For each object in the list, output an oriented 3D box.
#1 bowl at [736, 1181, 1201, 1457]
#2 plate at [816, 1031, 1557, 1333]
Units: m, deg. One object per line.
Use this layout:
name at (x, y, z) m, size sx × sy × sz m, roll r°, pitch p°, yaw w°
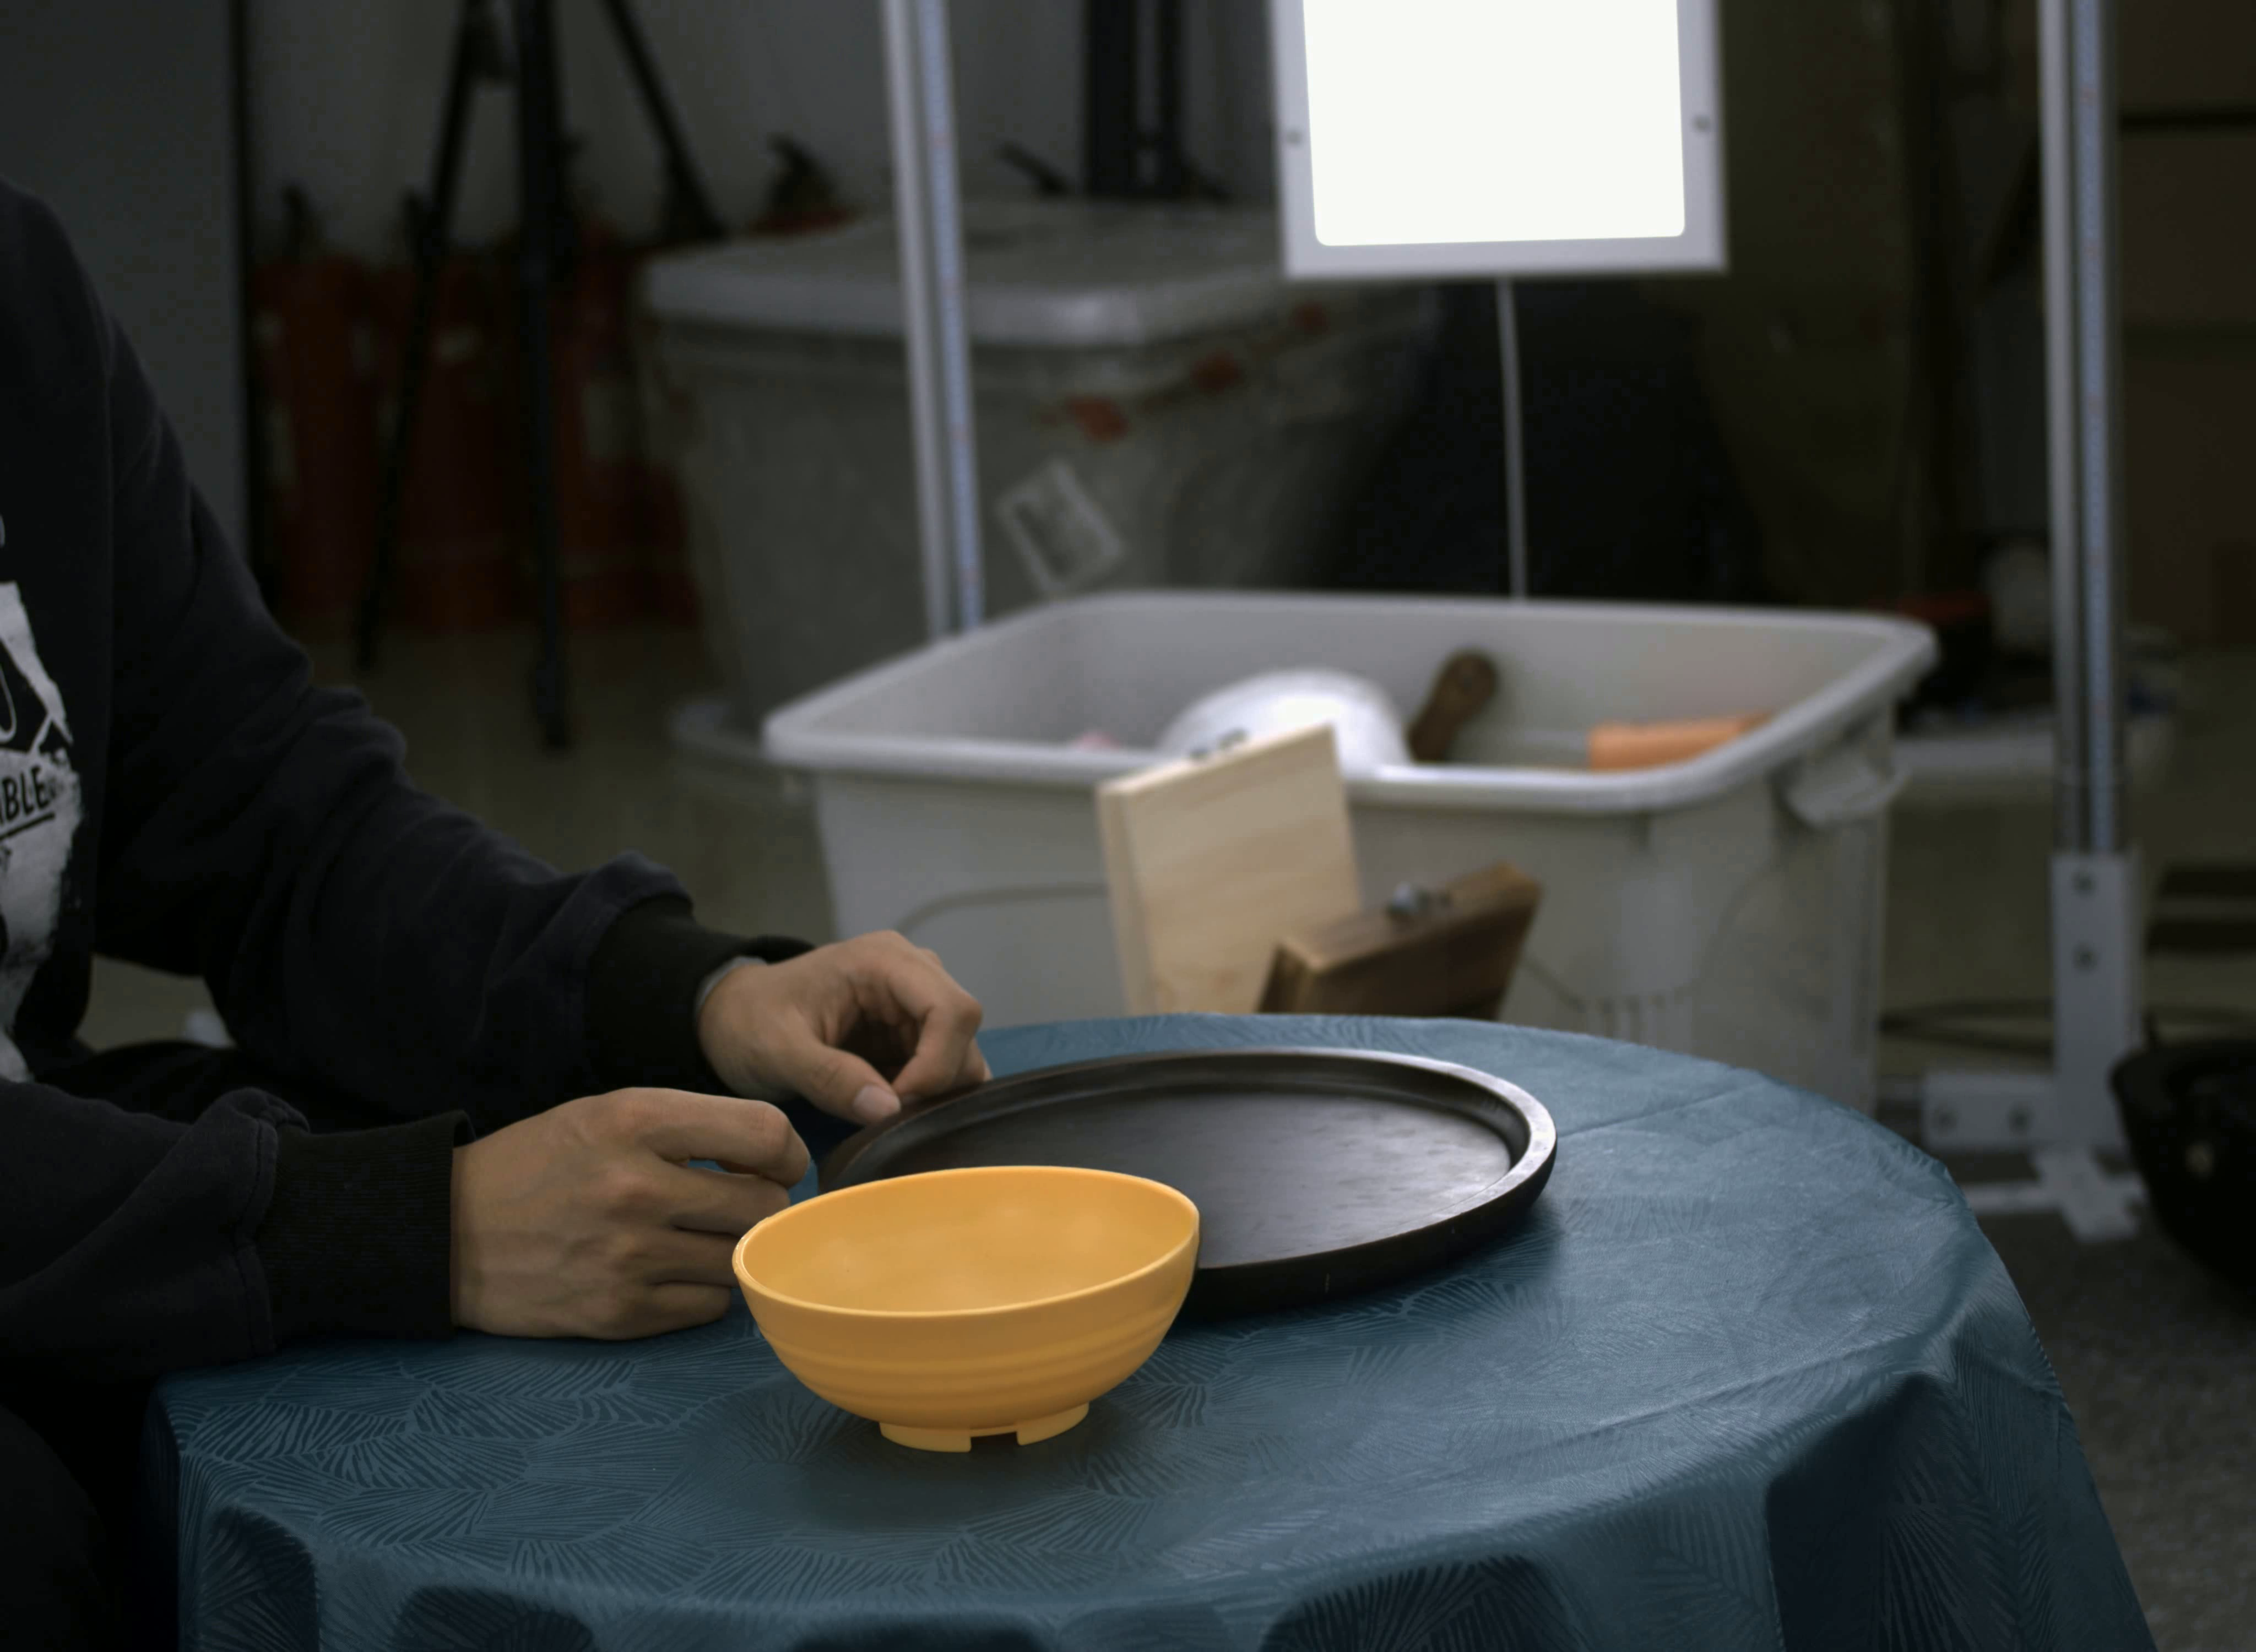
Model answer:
bowl at (-0.046, 0.154, 1.683) m, size 0.145 × 0.060 × 0.145 m, roll -6°, pitch 11°, yaw 0°
plate at (0.021, 0.120, 1.869) m, size 0.254 × 0.029 × 0.254 m, roll -6°, pitch 15°, yaw 0°
